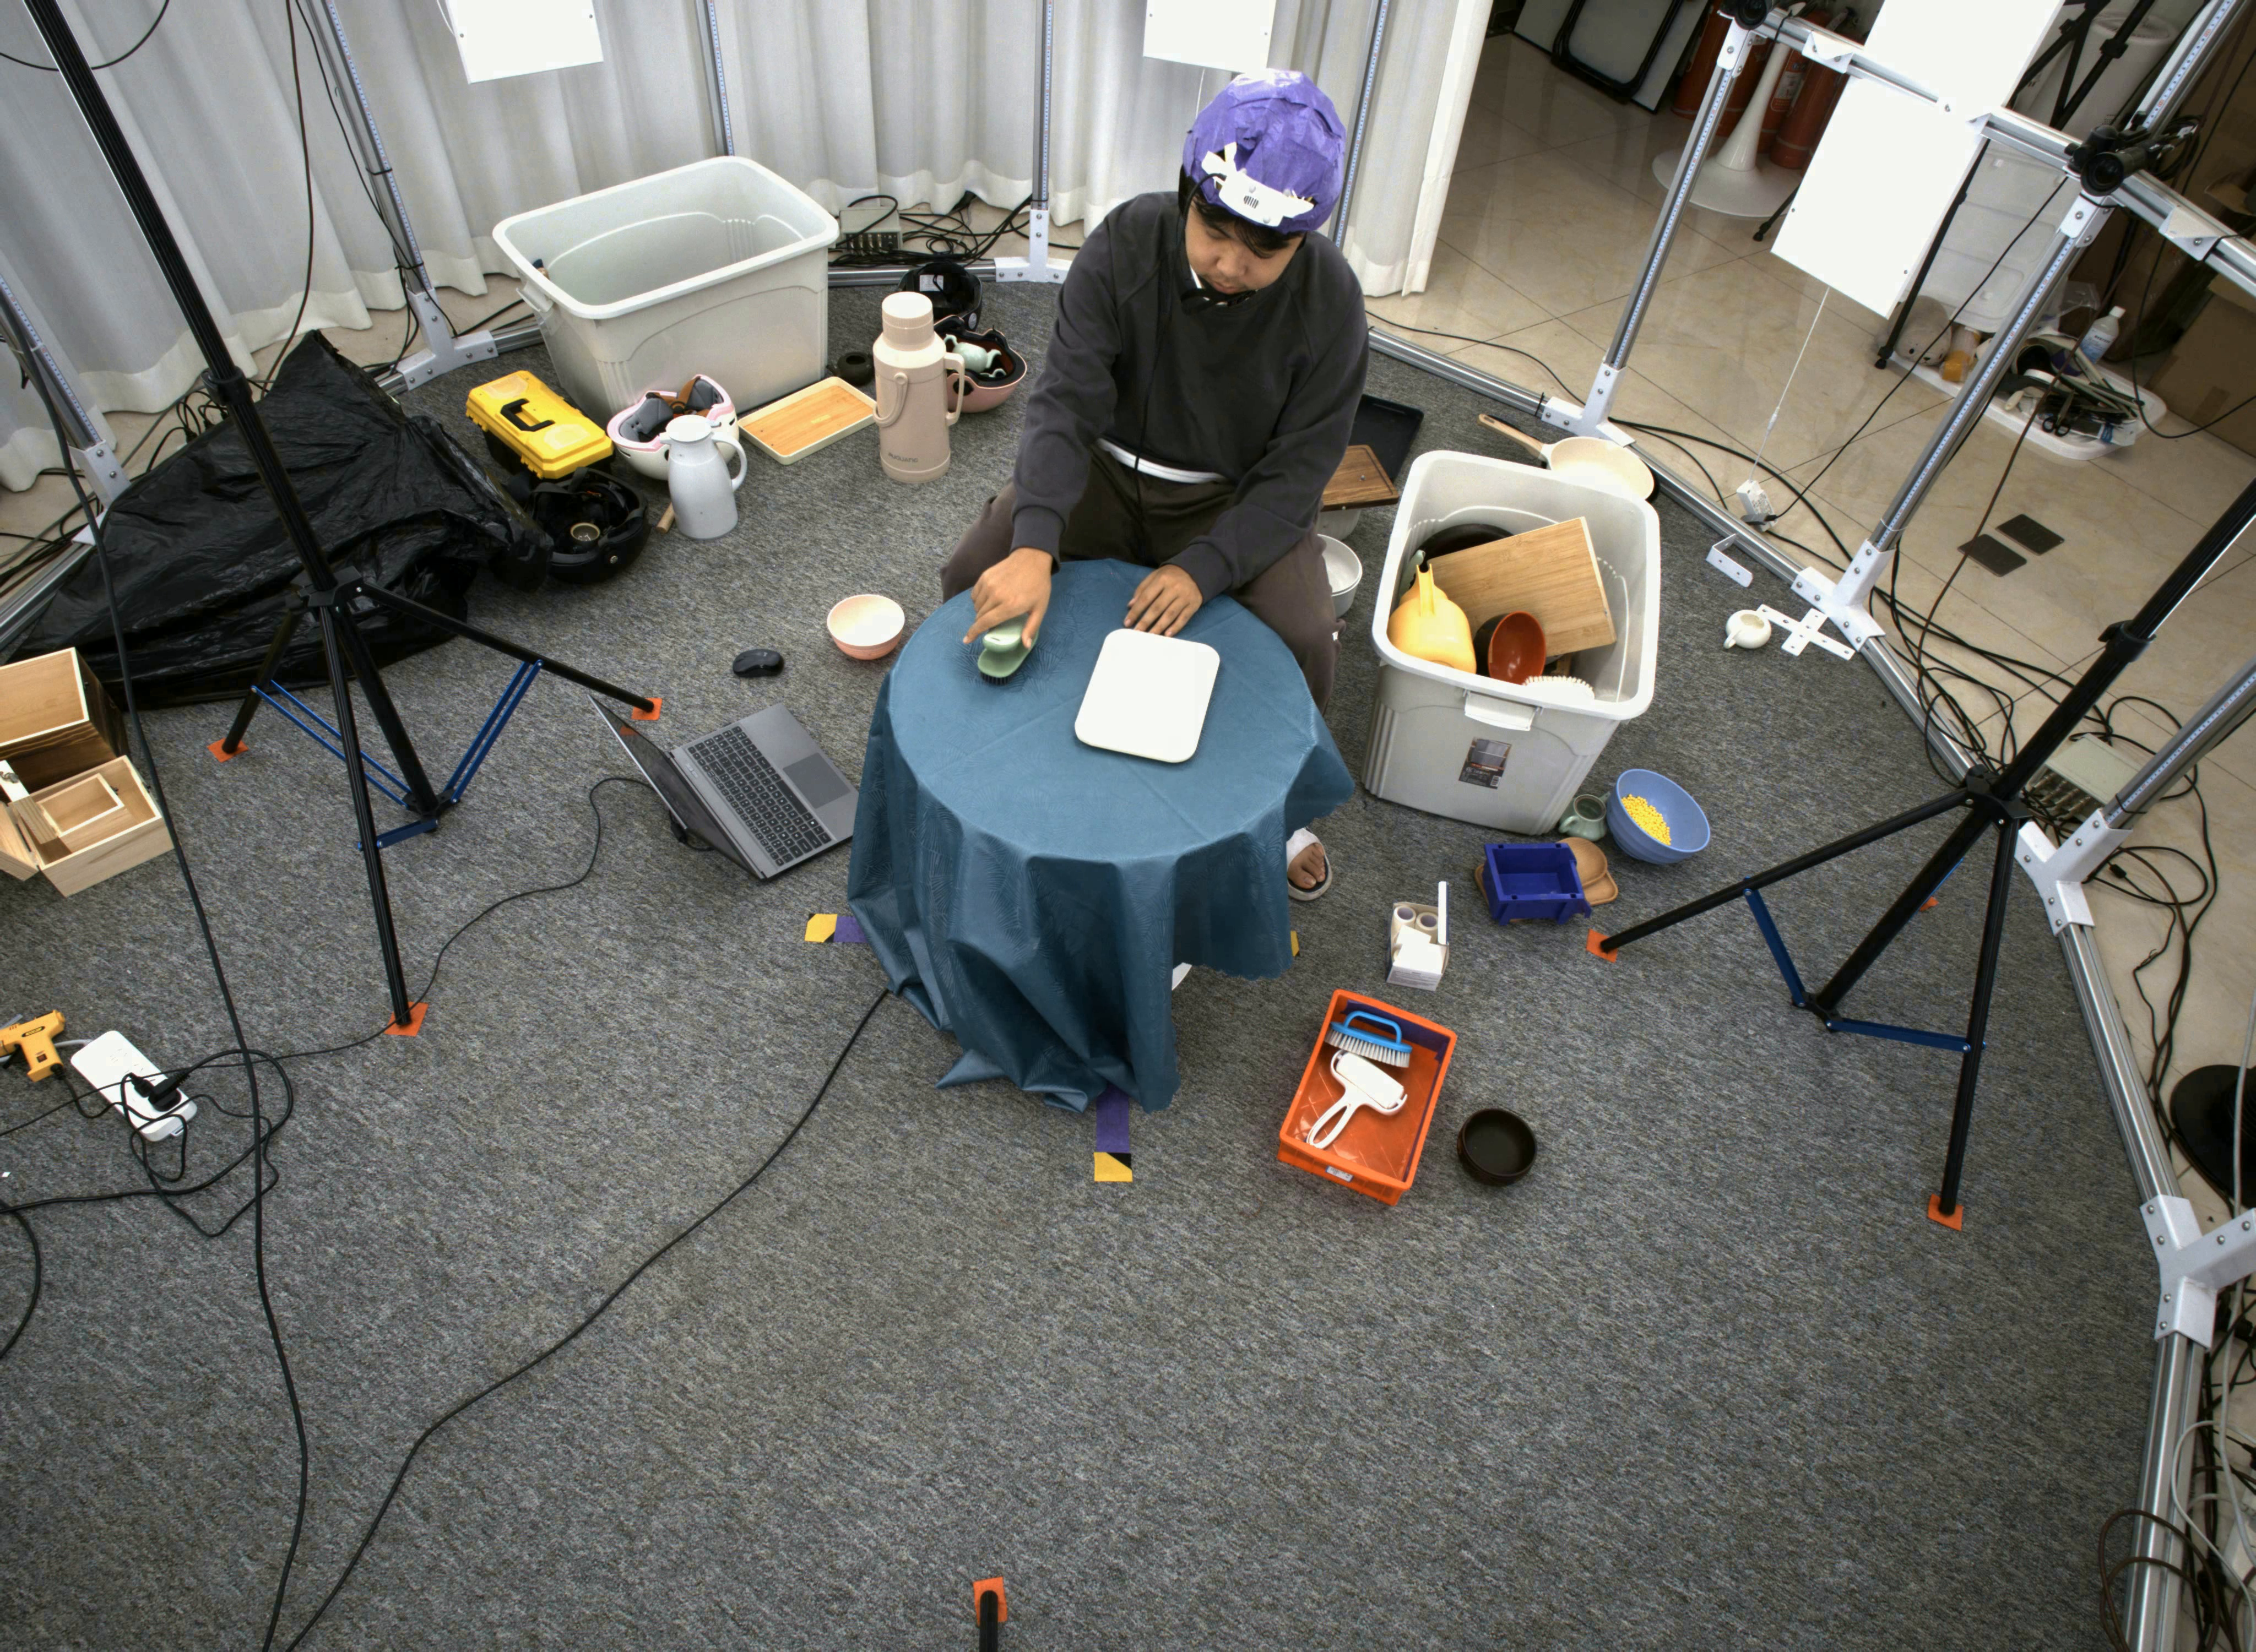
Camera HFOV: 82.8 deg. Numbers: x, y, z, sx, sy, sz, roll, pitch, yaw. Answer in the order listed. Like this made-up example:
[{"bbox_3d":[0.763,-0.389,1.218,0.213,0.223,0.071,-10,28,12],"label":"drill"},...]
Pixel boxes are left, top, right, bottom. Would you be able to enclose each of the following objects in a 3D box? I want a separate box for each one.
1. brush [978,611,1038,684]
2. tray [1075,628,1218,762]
[{"bbox_3d":[-0.172,-0.257,1.841,0.060,0.074,0.125,20,37,11],"label":"brush"},{"bbox_3d":[0.029,-0.187,1.818,0.171,0.017,0.245,13,49,6],"label":"tray"}]
